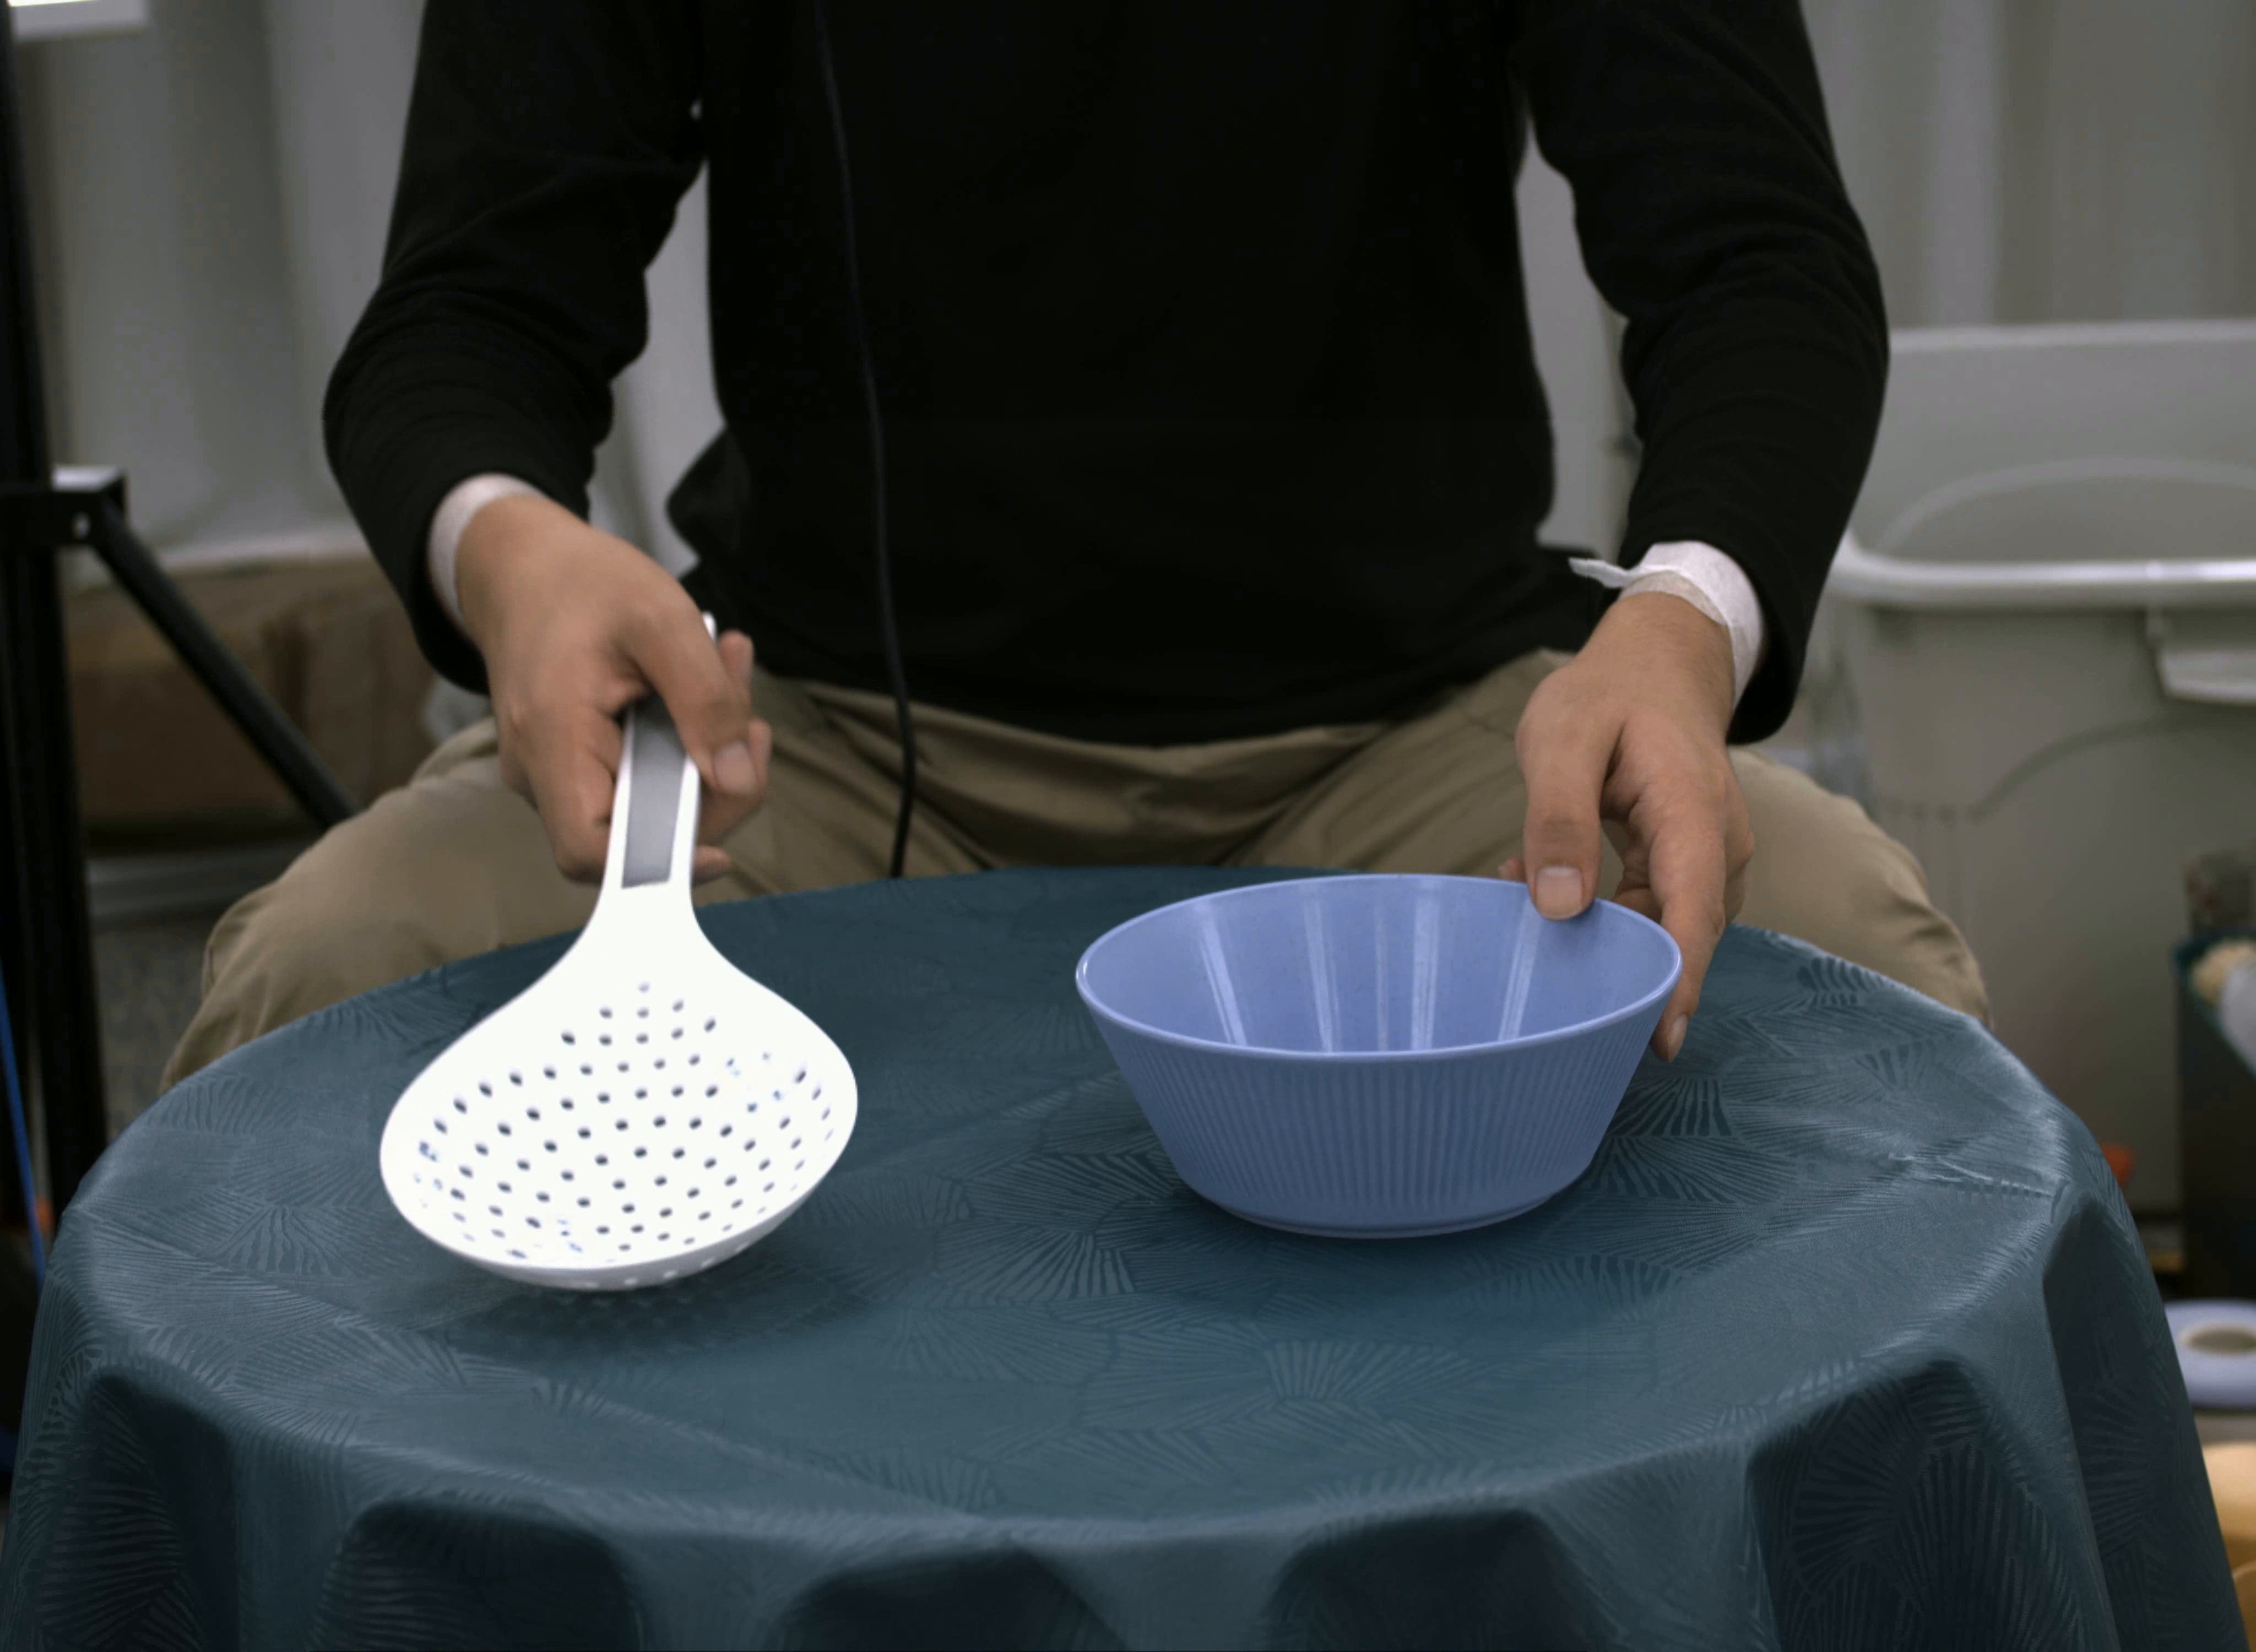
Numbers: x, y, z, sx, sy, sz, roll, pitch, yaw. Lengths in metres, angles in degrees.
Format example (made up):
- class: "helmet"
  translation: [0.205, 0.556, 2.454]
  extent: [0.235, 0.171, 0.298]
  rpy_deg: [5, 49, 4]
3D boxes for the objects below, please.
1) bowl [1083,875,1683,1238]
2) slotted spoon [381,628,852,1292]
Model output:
- class: "bowl"
  translation: [0.075, 0.070, 1.550]
  extent: [0.175, 0.070, 0.177]
  rpy_deg: [-2, 15, -1]
- class: "slotted spoon"
  translation: [-0.145, 0.034, 1.604]
  extent: [0.136, 0.045, 0.353]
  rpy_deg: [-8, 36, 4]
